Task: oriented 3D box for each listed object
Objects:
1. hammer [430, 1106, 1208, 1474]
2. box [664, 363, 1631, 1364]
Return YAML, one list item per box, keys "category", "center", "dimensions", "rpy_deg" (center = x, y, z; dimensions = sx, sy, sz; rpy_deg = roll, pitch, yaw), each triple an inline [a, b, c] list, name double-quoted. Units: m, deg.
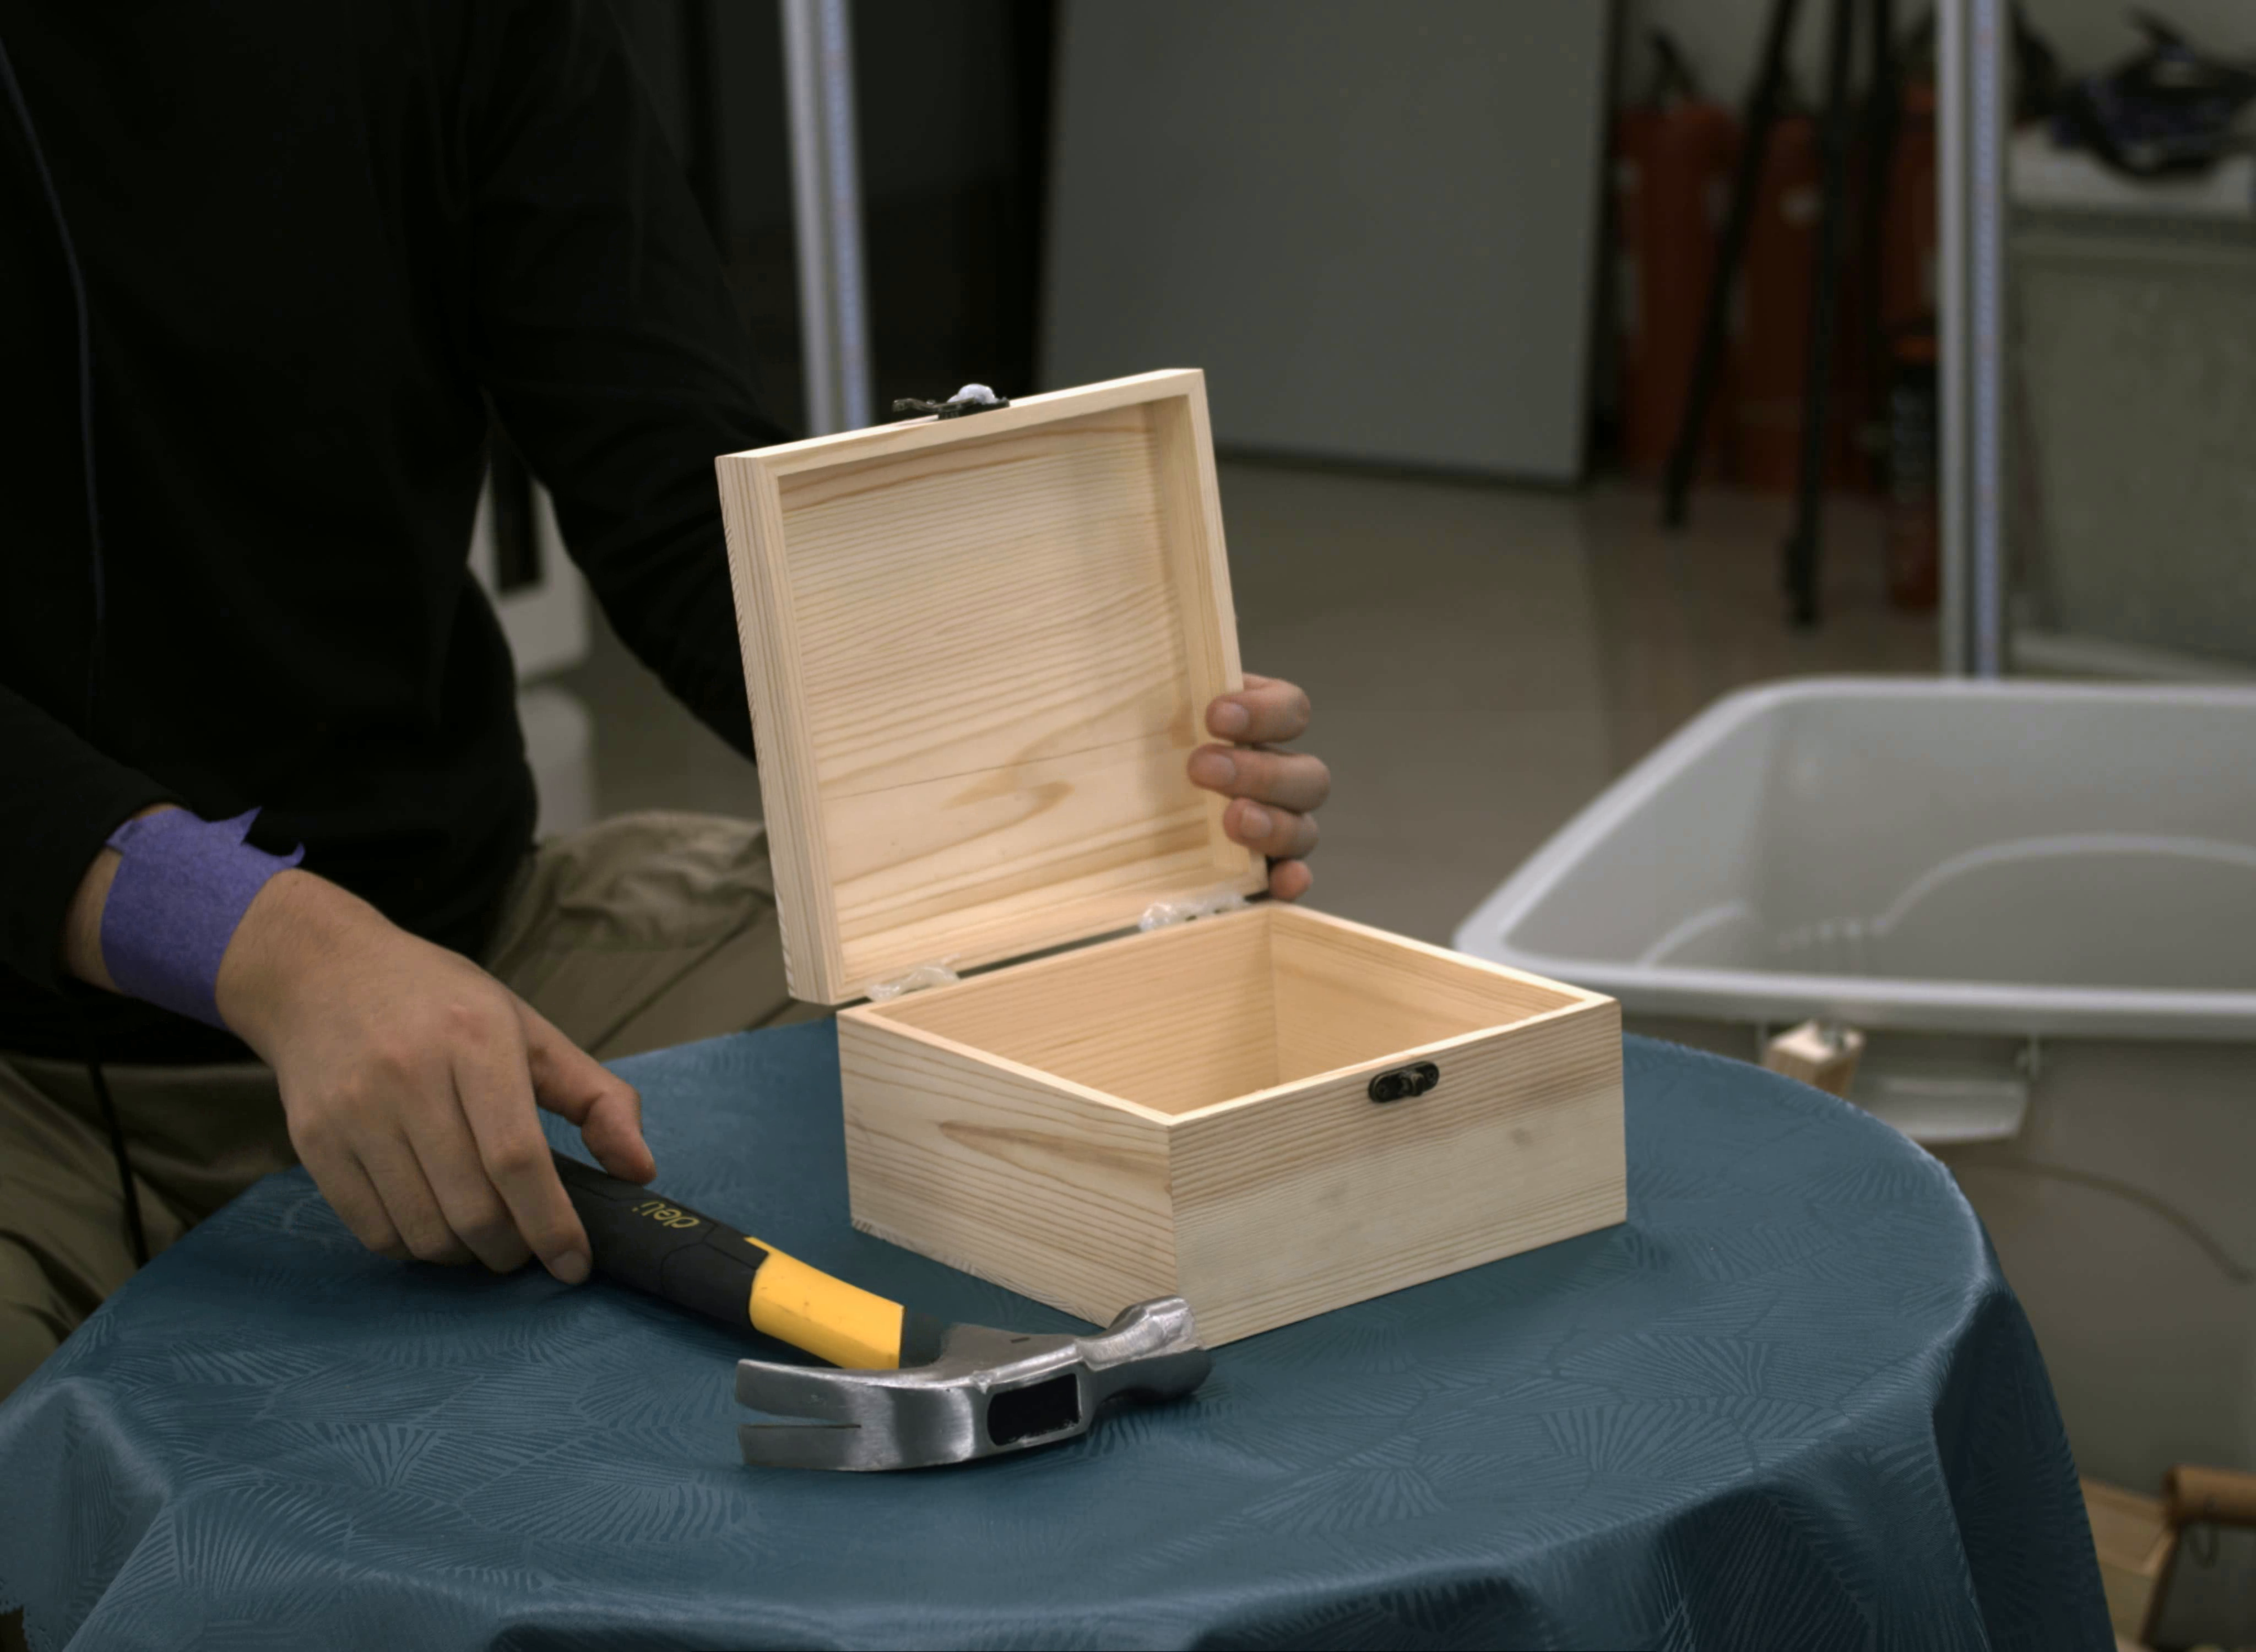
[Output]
- category: "hammer"
  center: [-0.123, 0.136, 1.674]
  dimensions: [0.128, 0.032, 0.342]
  rpy_deg: [-13, 17, -32]
- category: "box"
  center: [0.007, 0.002, 1.731]
  dimensions: [0.178, 0.256, 0.268]
  rpy_deg: [-15, 18, -34]
